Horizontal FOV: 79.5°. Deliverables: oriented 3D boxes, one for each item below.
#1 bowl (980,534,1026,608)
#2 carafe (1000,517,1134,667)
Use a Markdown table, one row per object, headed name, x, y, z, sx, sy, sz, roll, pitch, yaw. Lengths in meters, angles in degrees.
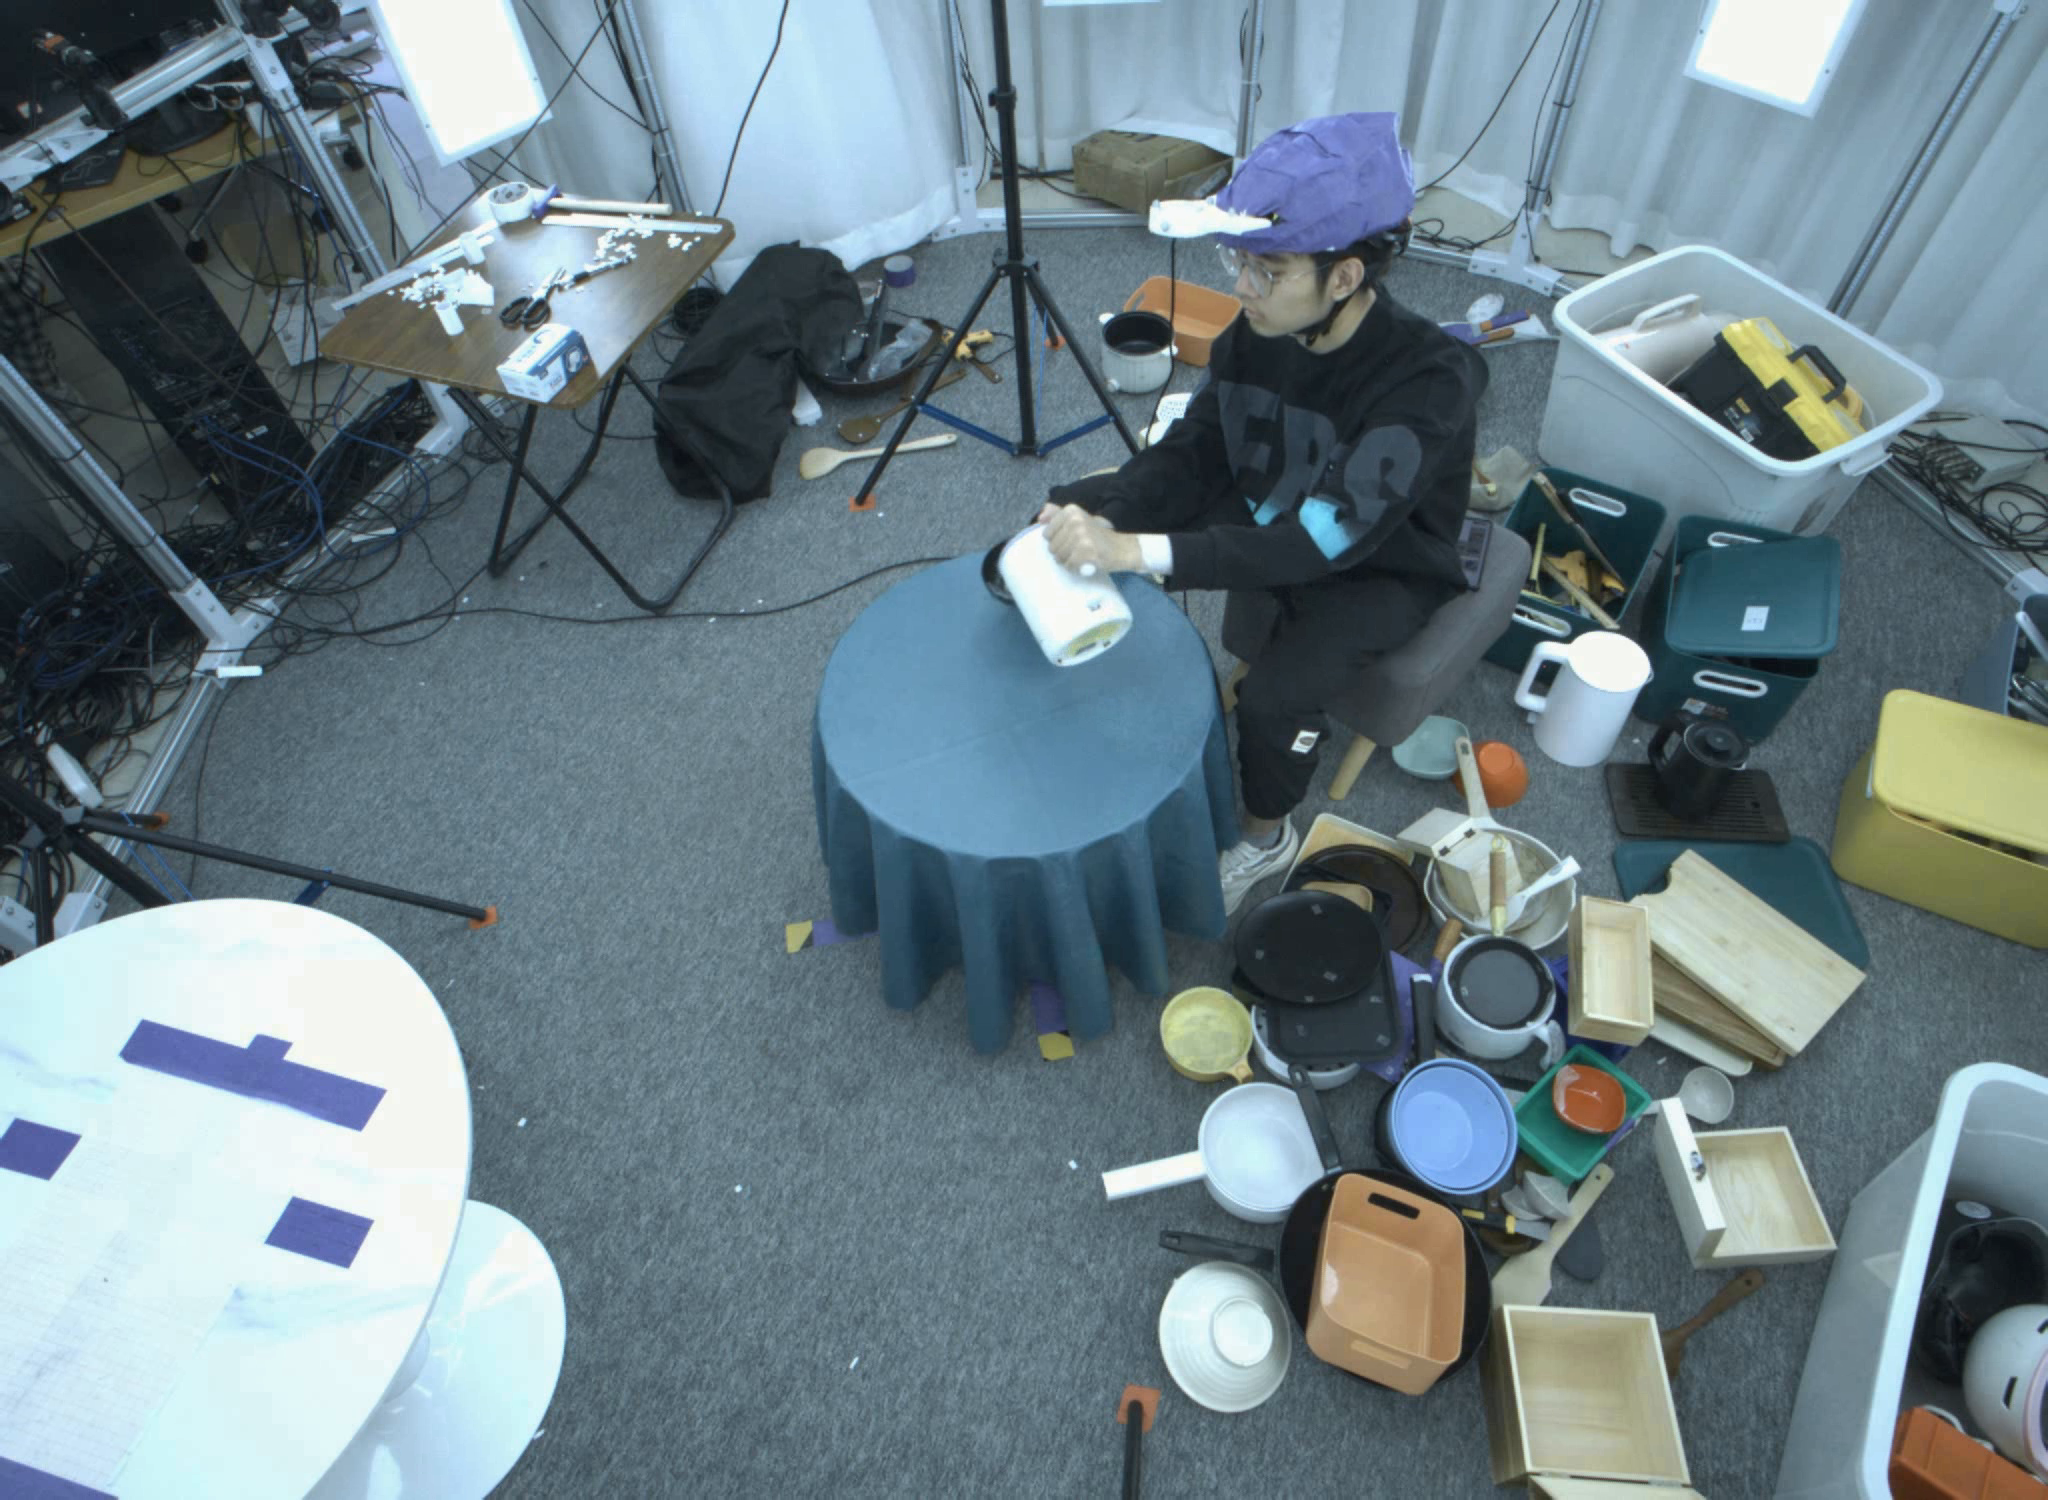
| name | x | y | z | sx | sy | sz | roll | pitch | yaw |
| --- | --- | --- | --- | --- | --- | --- | --- | --- | --- |
| bowl | 0.004 | -0.263 | 1.870 | 0.140 | 0.050 | 0.138 | 0 | 56 | 2 |
| carafe | 0.061 | -0.227 | 1.674 | 0.133 | 0.190 | 0.181 | -25 | 78 | -19 |
